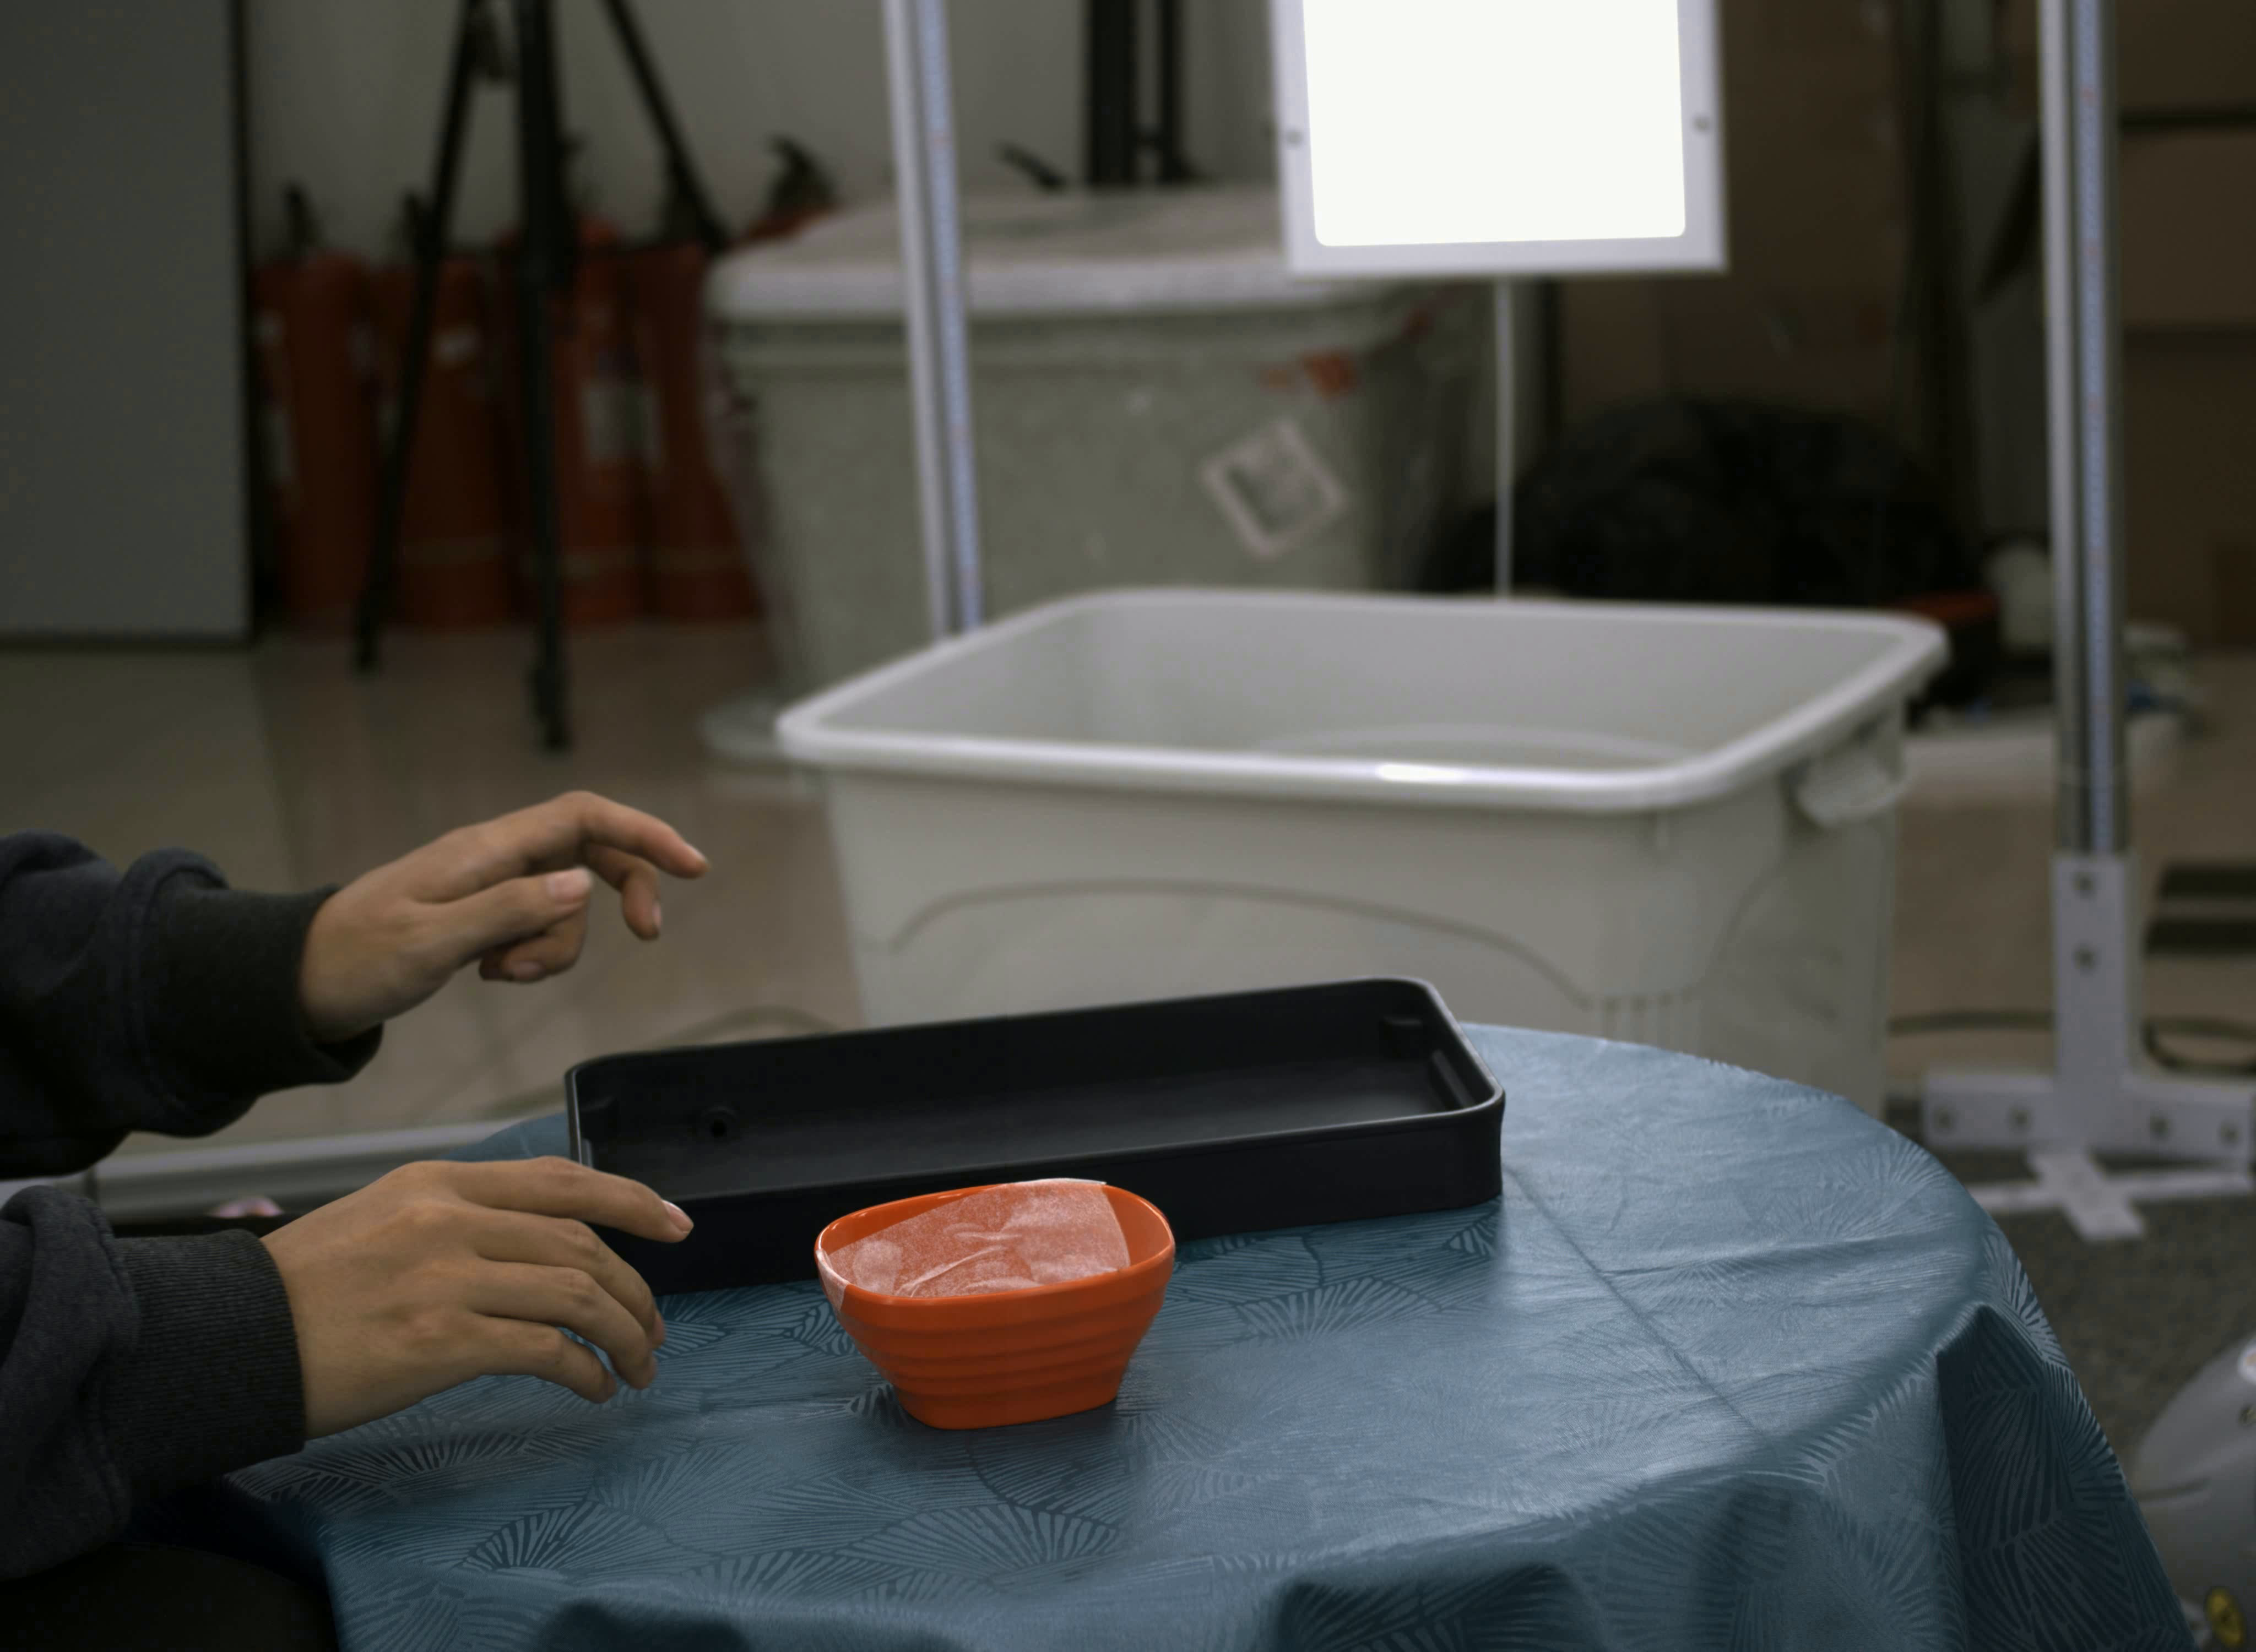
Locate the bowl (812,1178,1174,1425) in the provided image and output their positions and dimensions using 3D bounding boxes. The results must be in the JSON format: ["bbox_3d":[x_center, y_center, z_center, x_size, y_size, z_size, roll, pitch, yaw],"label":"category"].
[{"bbox_3d":[-0.040,0.149,1.704,0.118,0.051,0.119,-5,13,0],"label":"bowl"}]

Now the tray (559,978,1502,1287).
[{"bbox_3d":[-0.037,0.104,1.920,0.316,0.037,0.184,-5,14,-4],"label":"tray"}]
